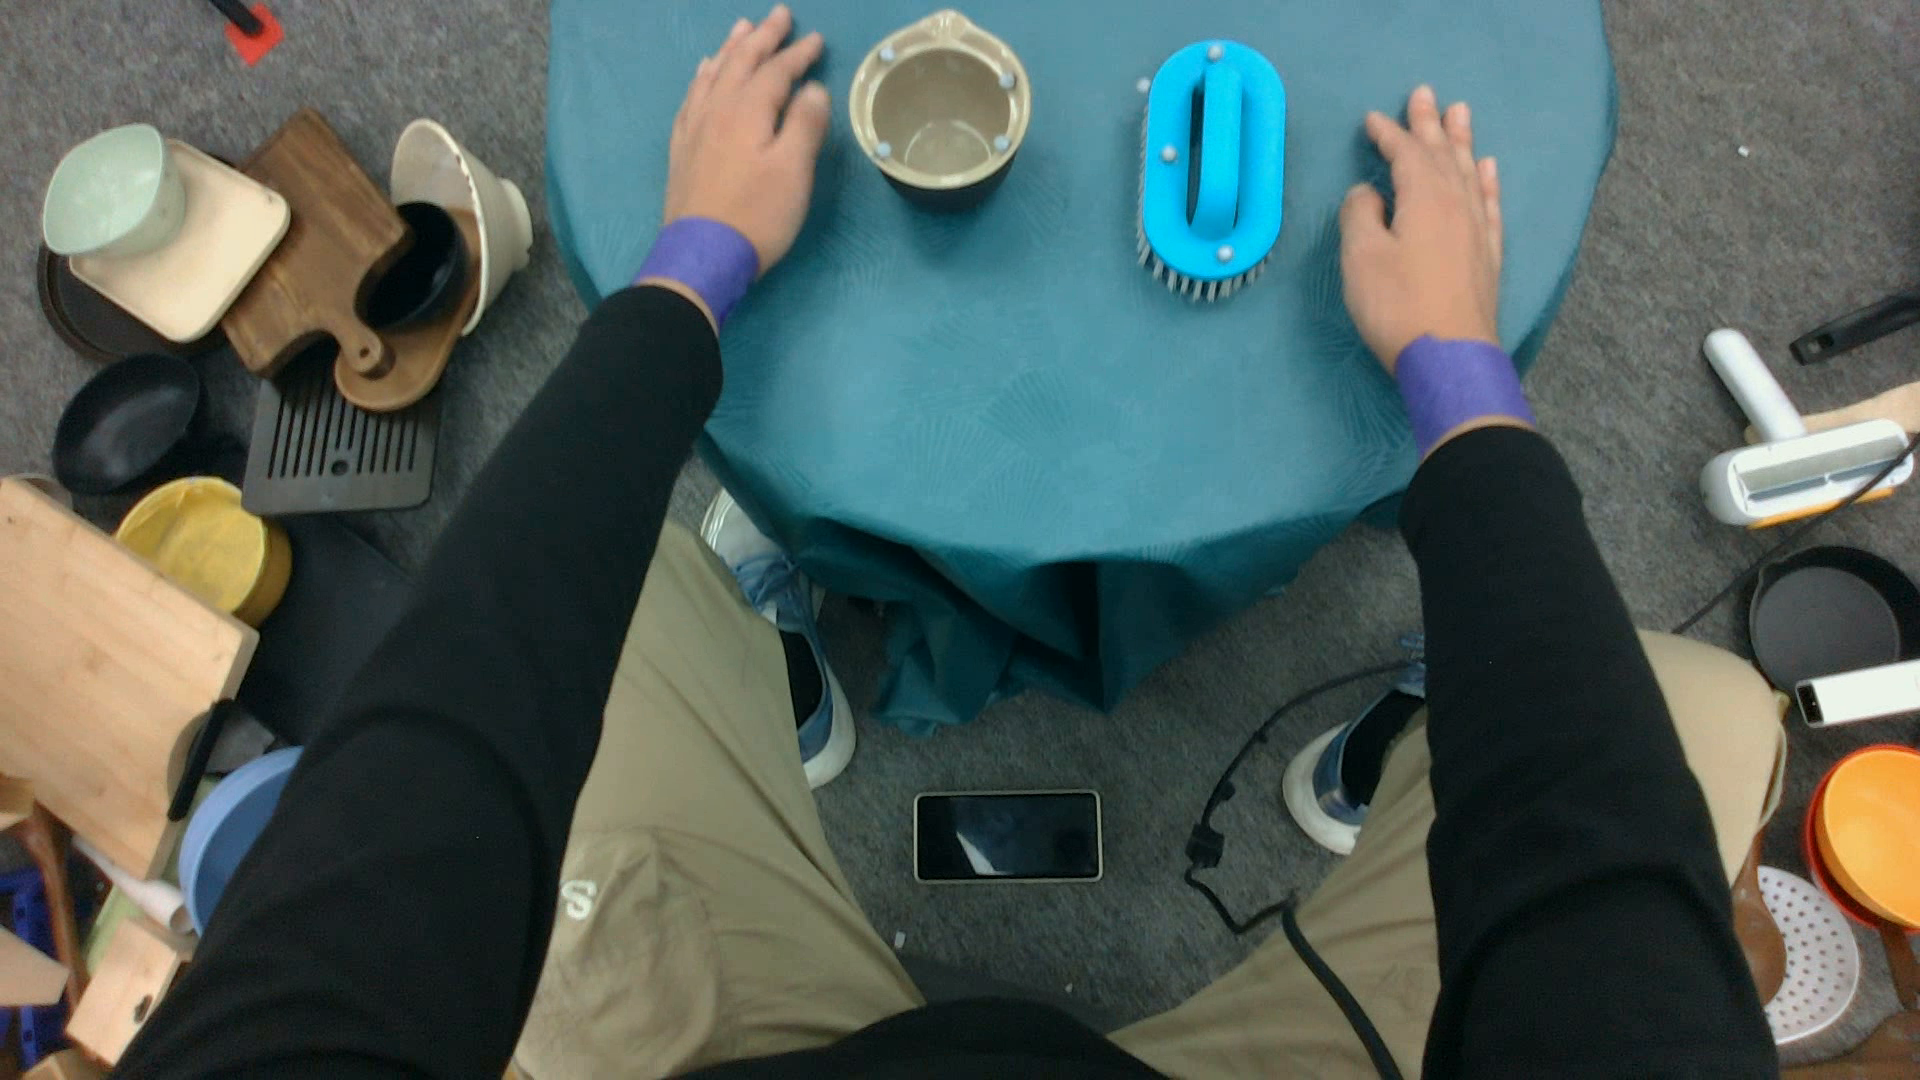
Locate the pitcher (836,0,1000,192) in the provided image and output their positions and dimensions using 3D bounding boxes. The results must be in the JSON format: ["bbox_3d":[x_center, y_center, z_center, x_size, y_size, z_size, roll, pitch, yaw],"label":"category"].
[{"bbox_3d":[-0.019,-0.230,0.730,0.083,0.071,0.096,9,77,5],"label":"pitcher"}]

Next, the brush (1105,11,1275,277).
[{"bbox_3d":[0.124,-0.215,0.726,0.084,0.063,0.142,6,79,-1],"label":"brush"}]
